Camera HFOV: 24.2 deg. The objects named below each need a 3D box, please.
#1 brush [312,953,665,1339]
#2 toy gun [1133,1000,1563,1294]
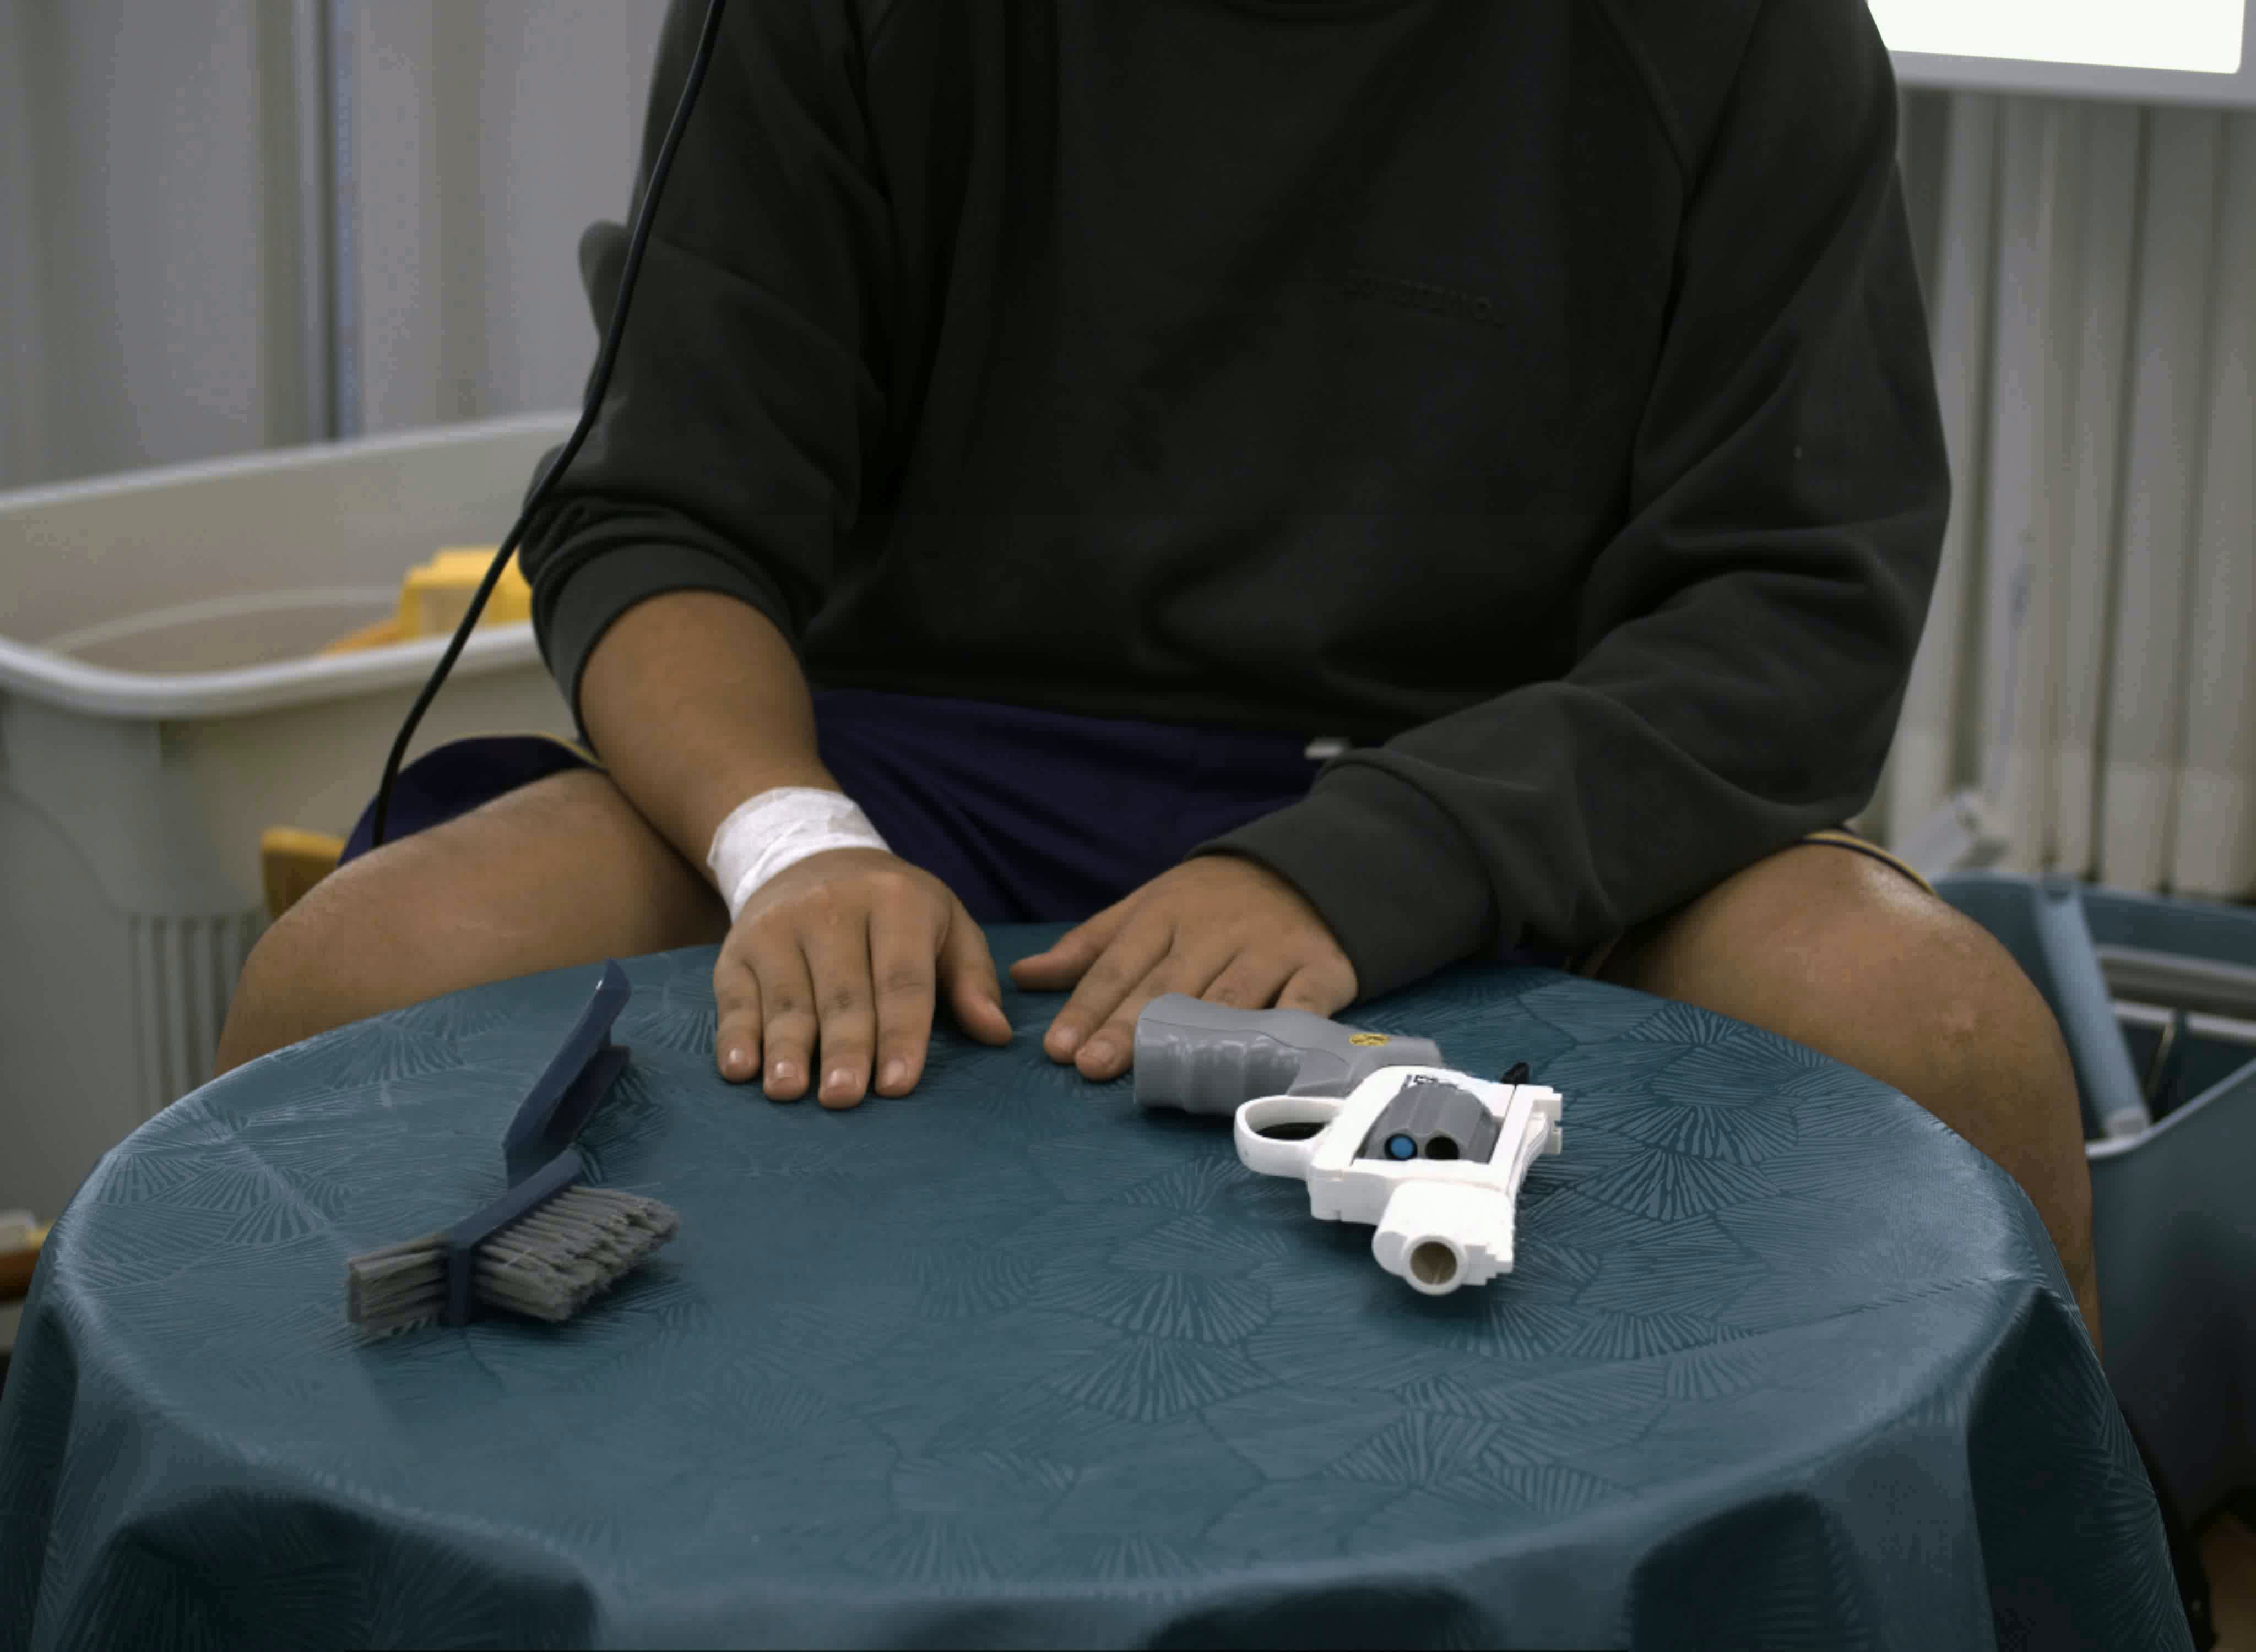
[{"bbox_3d":[-0.187,0.095,1.618,0.095,0.034,0.271,0,16,-1],"label":"brush"},{"bbox_3d":[0.061,0.096,1.613,0.141,0.039,0.208,2,15,9],"label":"toy gun"}]
